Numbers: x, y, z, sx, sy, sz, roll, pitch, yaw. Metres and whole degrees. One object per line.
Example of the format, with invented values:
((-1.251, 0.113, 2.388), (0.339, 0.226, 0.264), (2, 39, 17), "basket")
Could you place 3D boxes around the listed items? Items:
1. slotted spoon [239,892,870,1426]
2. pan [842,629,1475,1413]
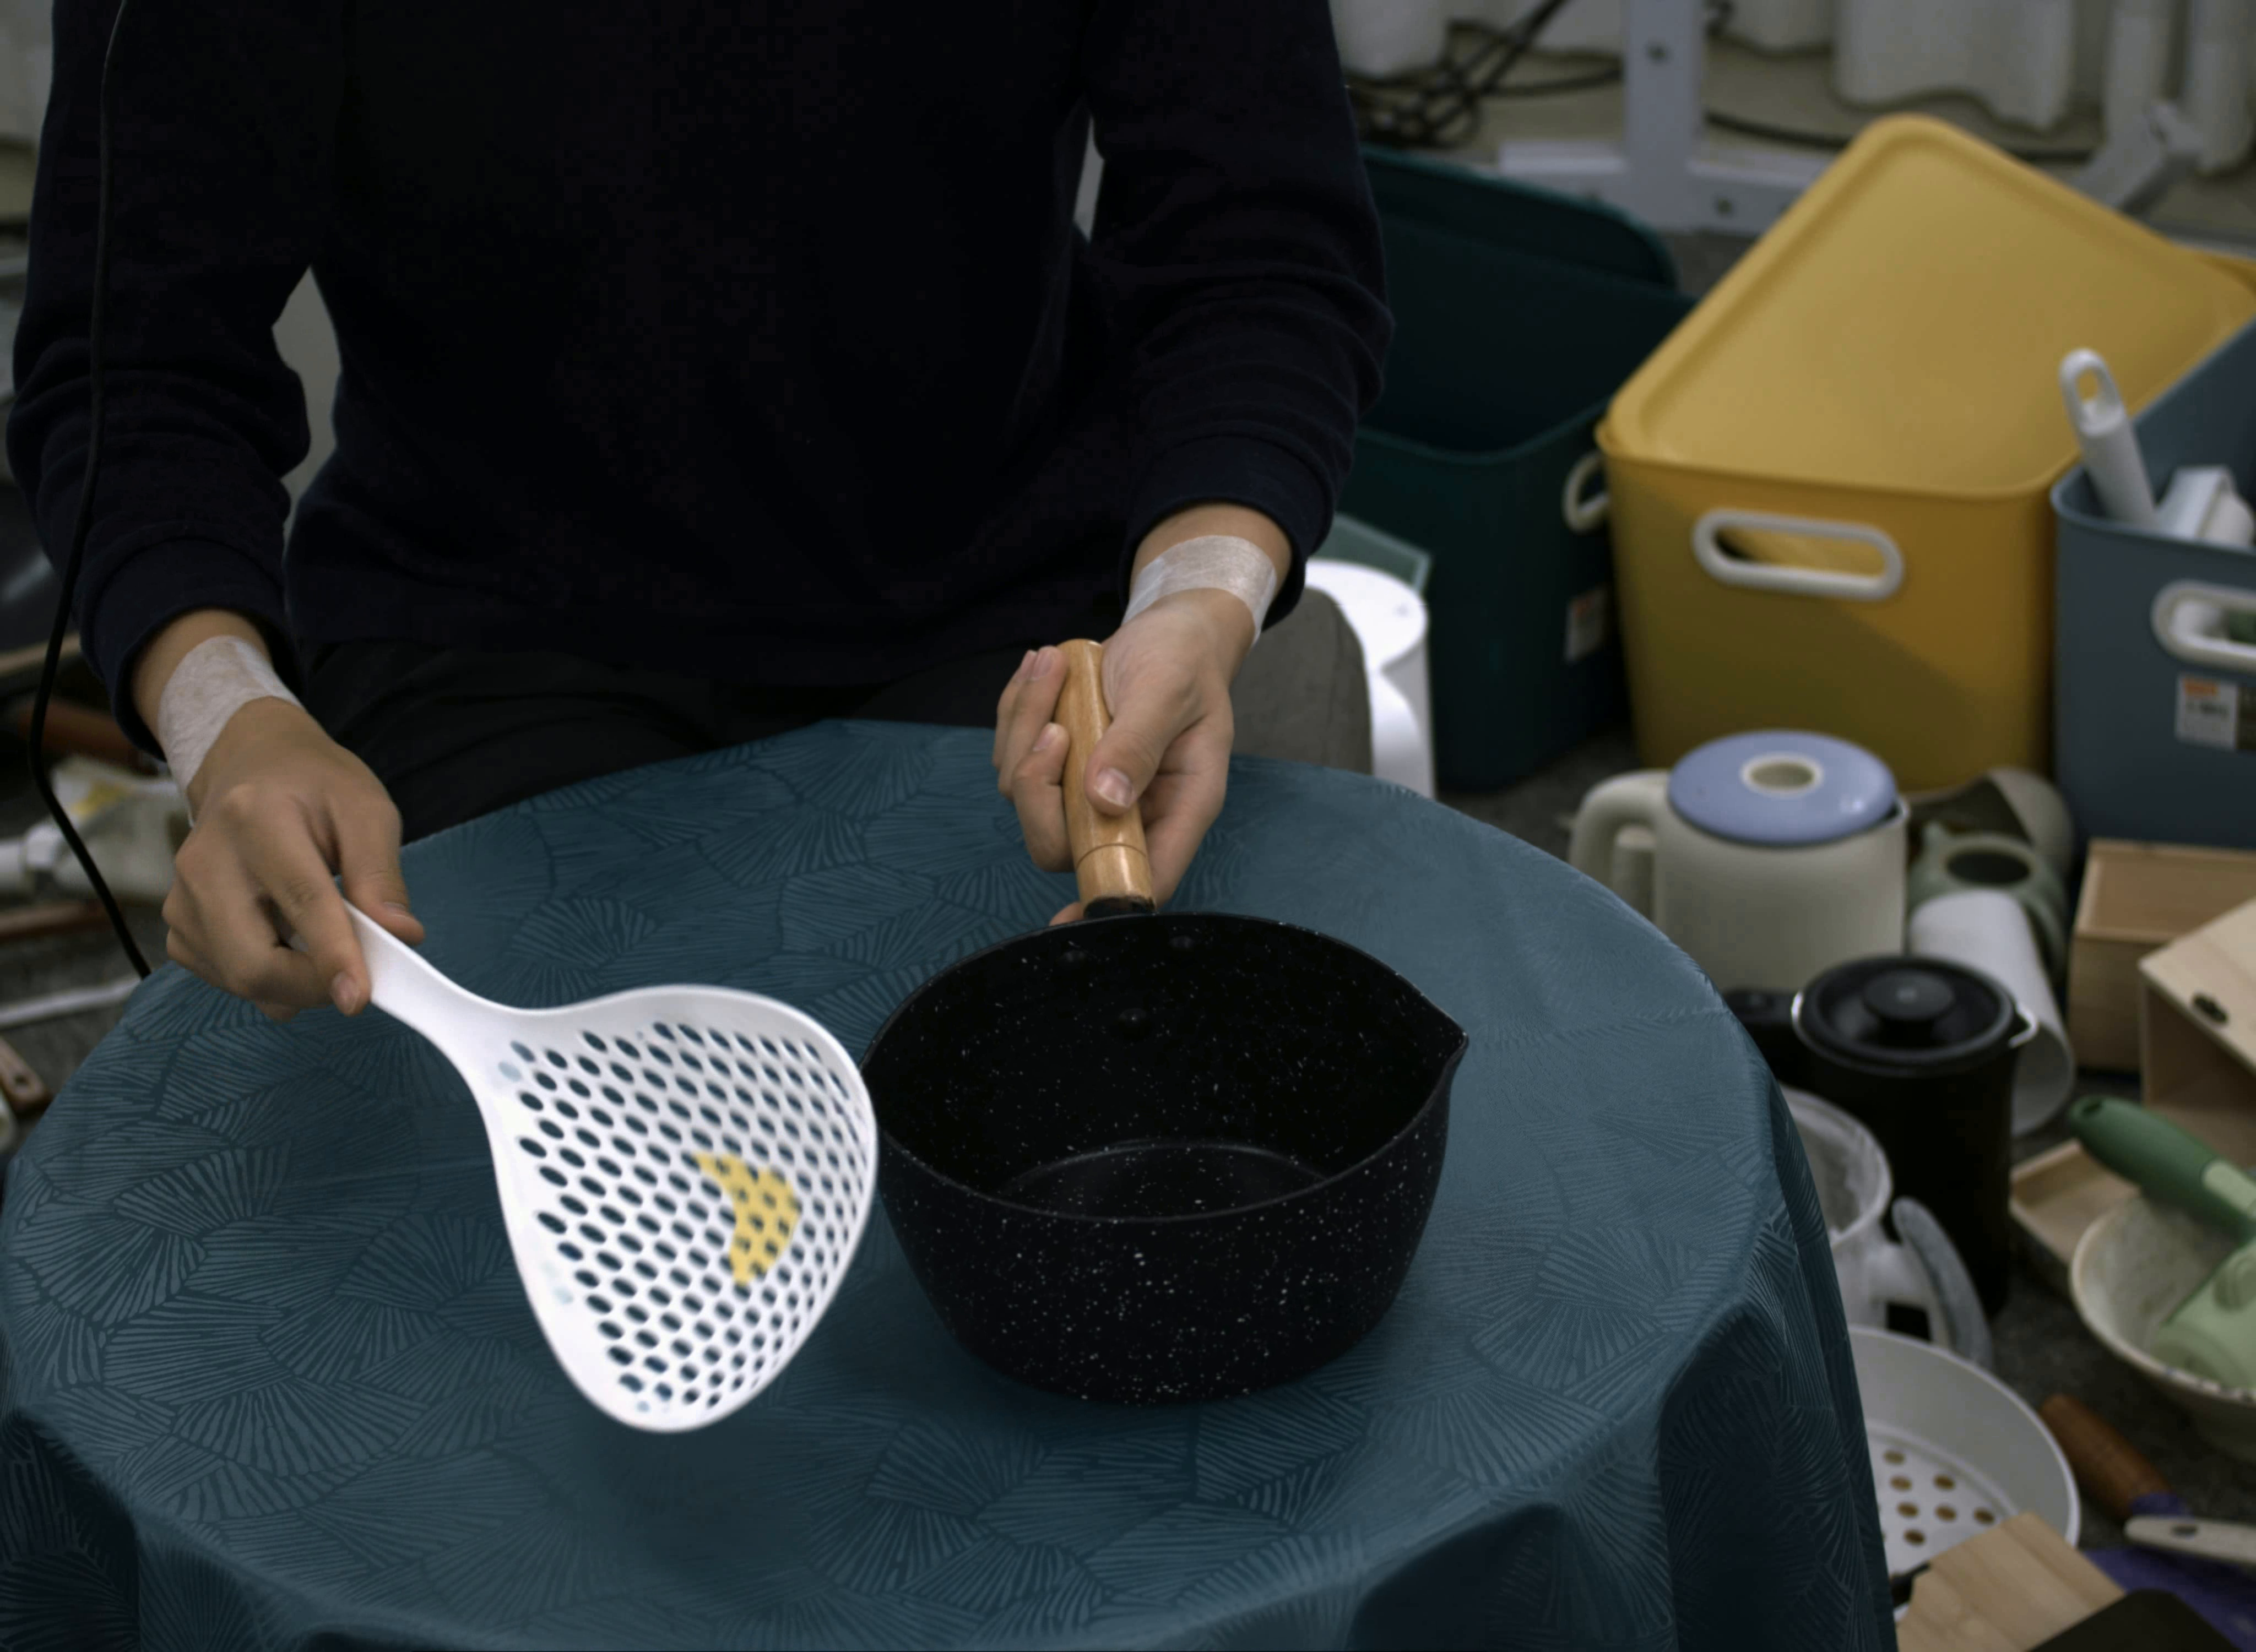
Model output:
((-0.192, 0.077, 1.773), (0.348, 0.137, 0.050), (27, 4, 40), "slotted spoon")
((0.000, 0.061, 1.856), (0.207, 0.107, 0.348), (-6, 30, -5), "pan")
